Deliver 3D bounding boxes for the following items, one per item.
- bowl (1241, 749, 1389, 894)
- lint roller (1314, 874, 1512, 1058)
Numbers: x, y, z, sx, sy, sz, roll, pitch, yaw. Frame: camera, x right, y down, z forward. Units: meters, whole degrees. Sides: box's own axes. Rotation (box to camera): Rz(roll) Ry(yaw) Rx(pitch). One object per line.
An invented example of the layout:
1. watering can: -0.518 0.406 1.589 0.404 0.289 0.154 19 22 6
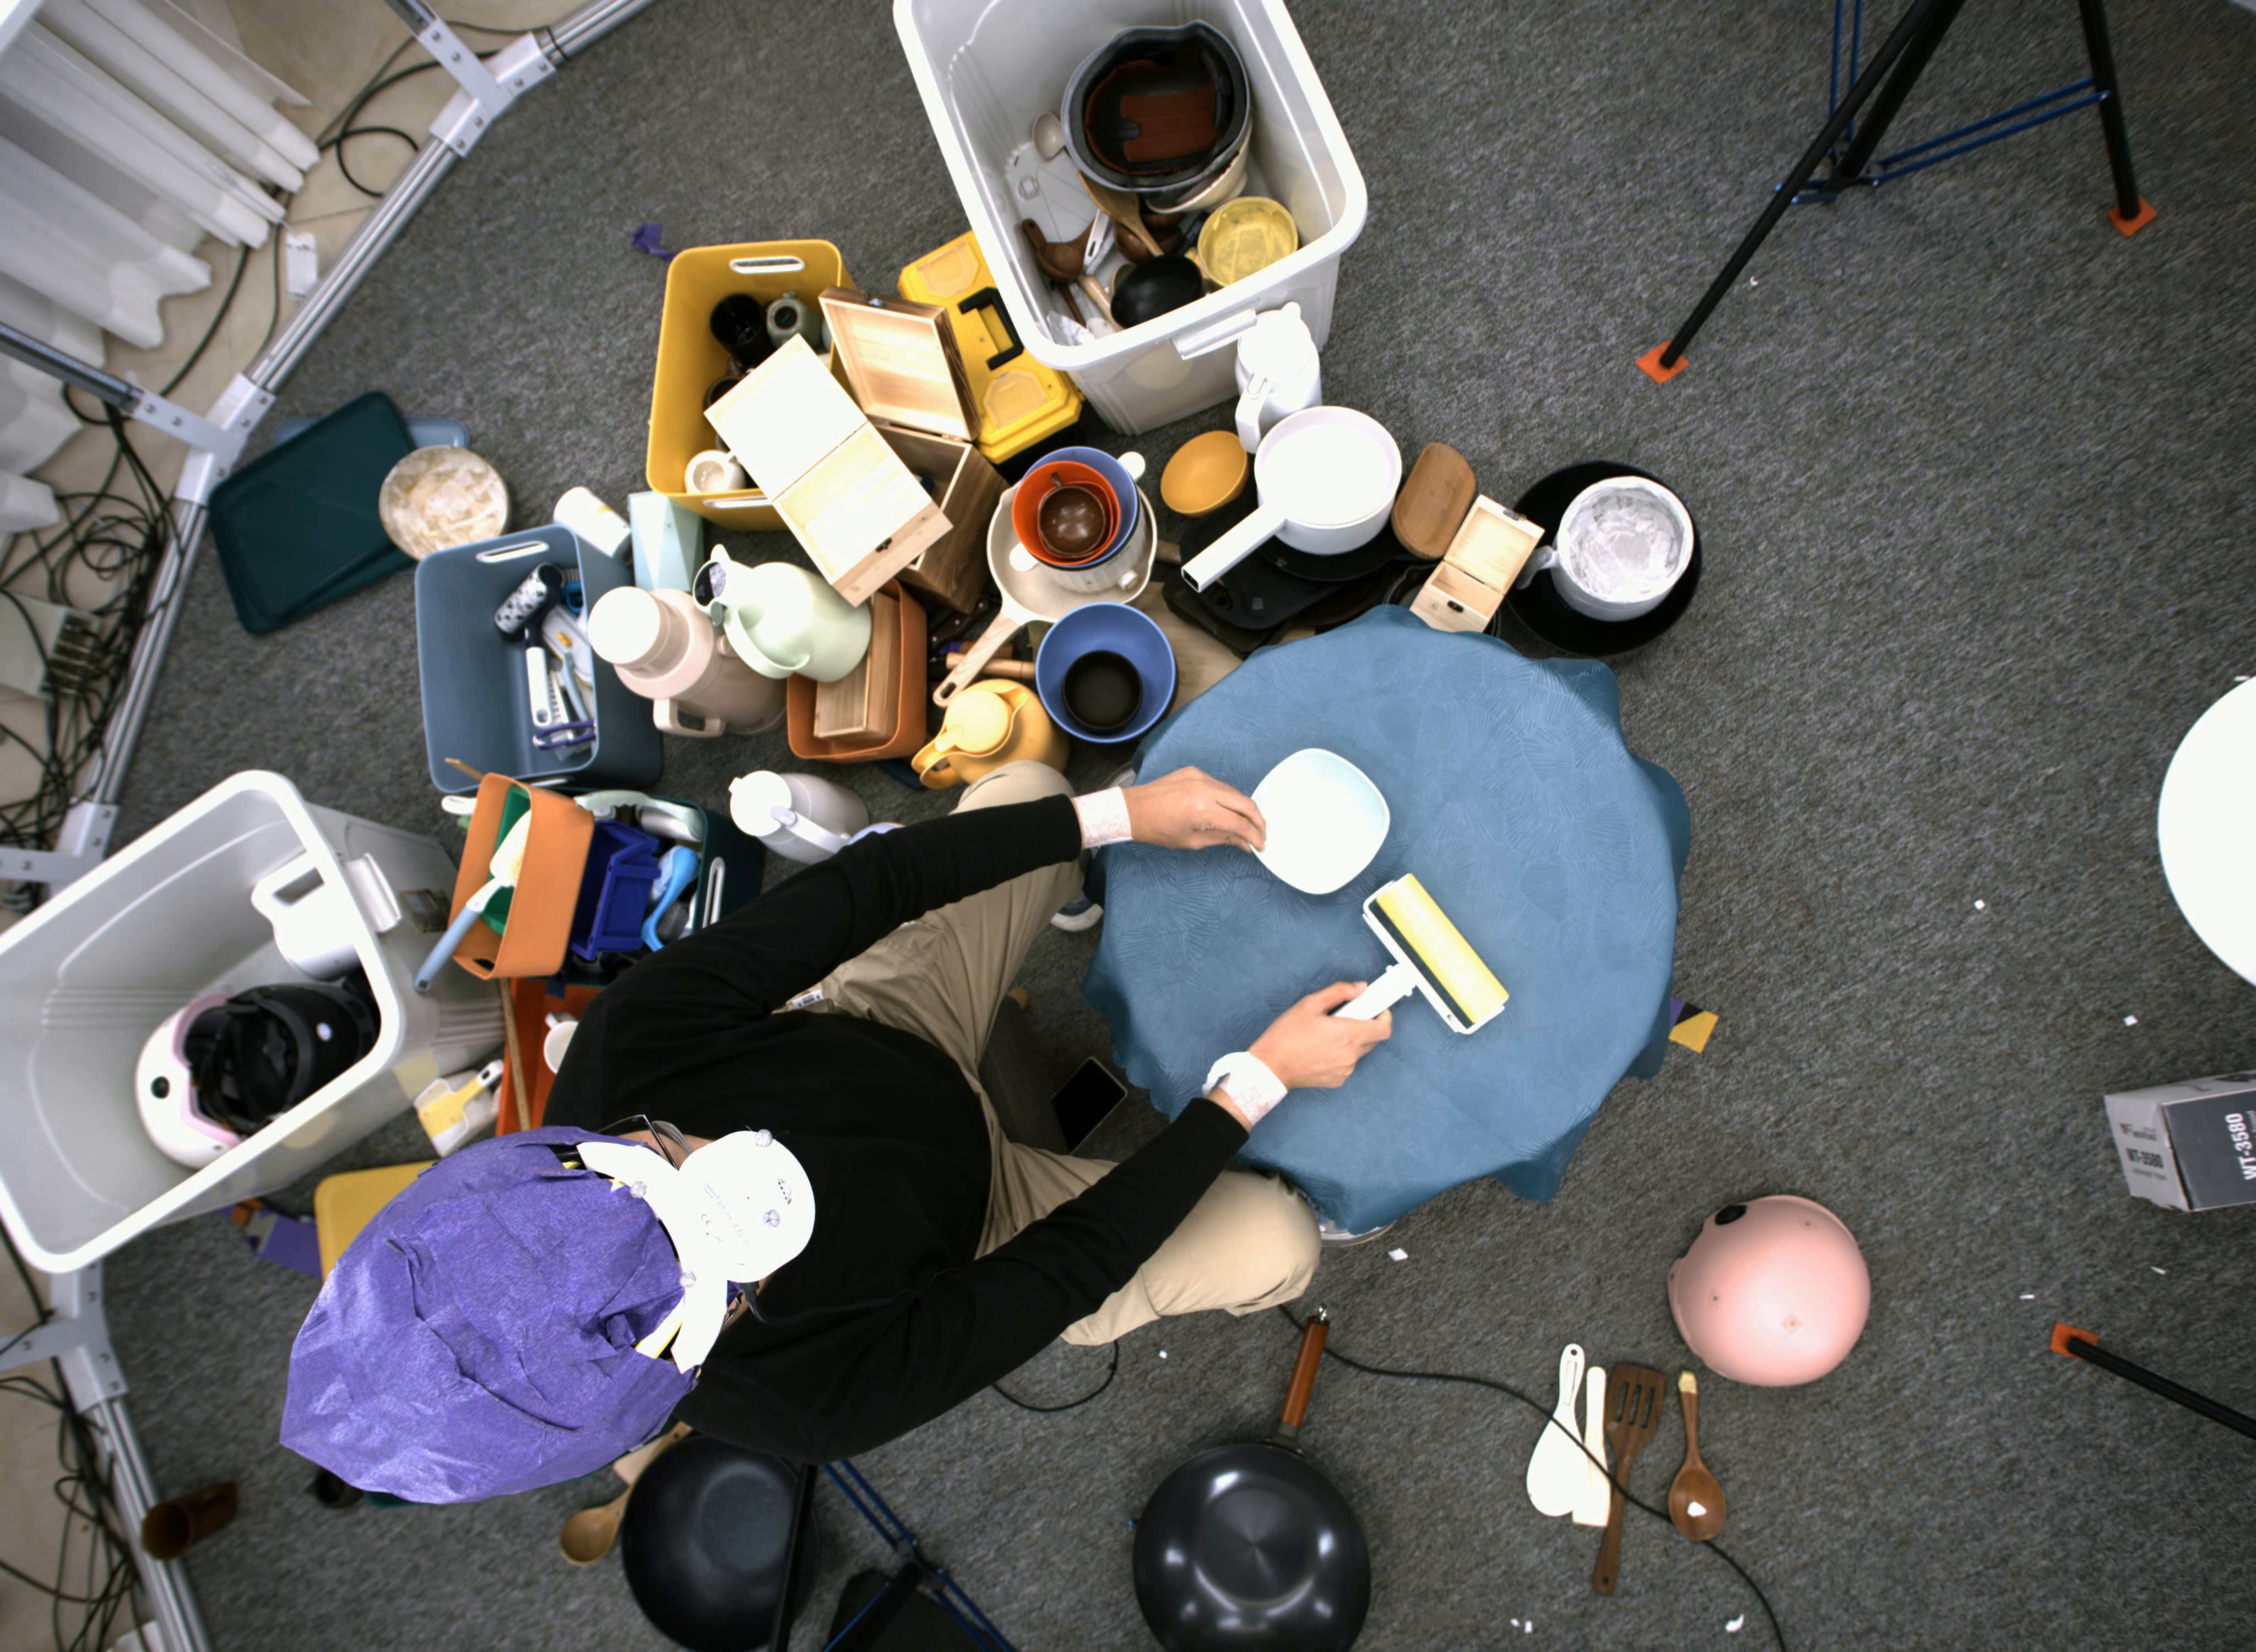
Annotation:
1. bowl: 0.196 -0.003 1.449 0.152 0.059 0.150 -1 86 9
2. lint roller: 0.269 0.168 1.413 0.191 0.052 0.173 -38 81 -8
